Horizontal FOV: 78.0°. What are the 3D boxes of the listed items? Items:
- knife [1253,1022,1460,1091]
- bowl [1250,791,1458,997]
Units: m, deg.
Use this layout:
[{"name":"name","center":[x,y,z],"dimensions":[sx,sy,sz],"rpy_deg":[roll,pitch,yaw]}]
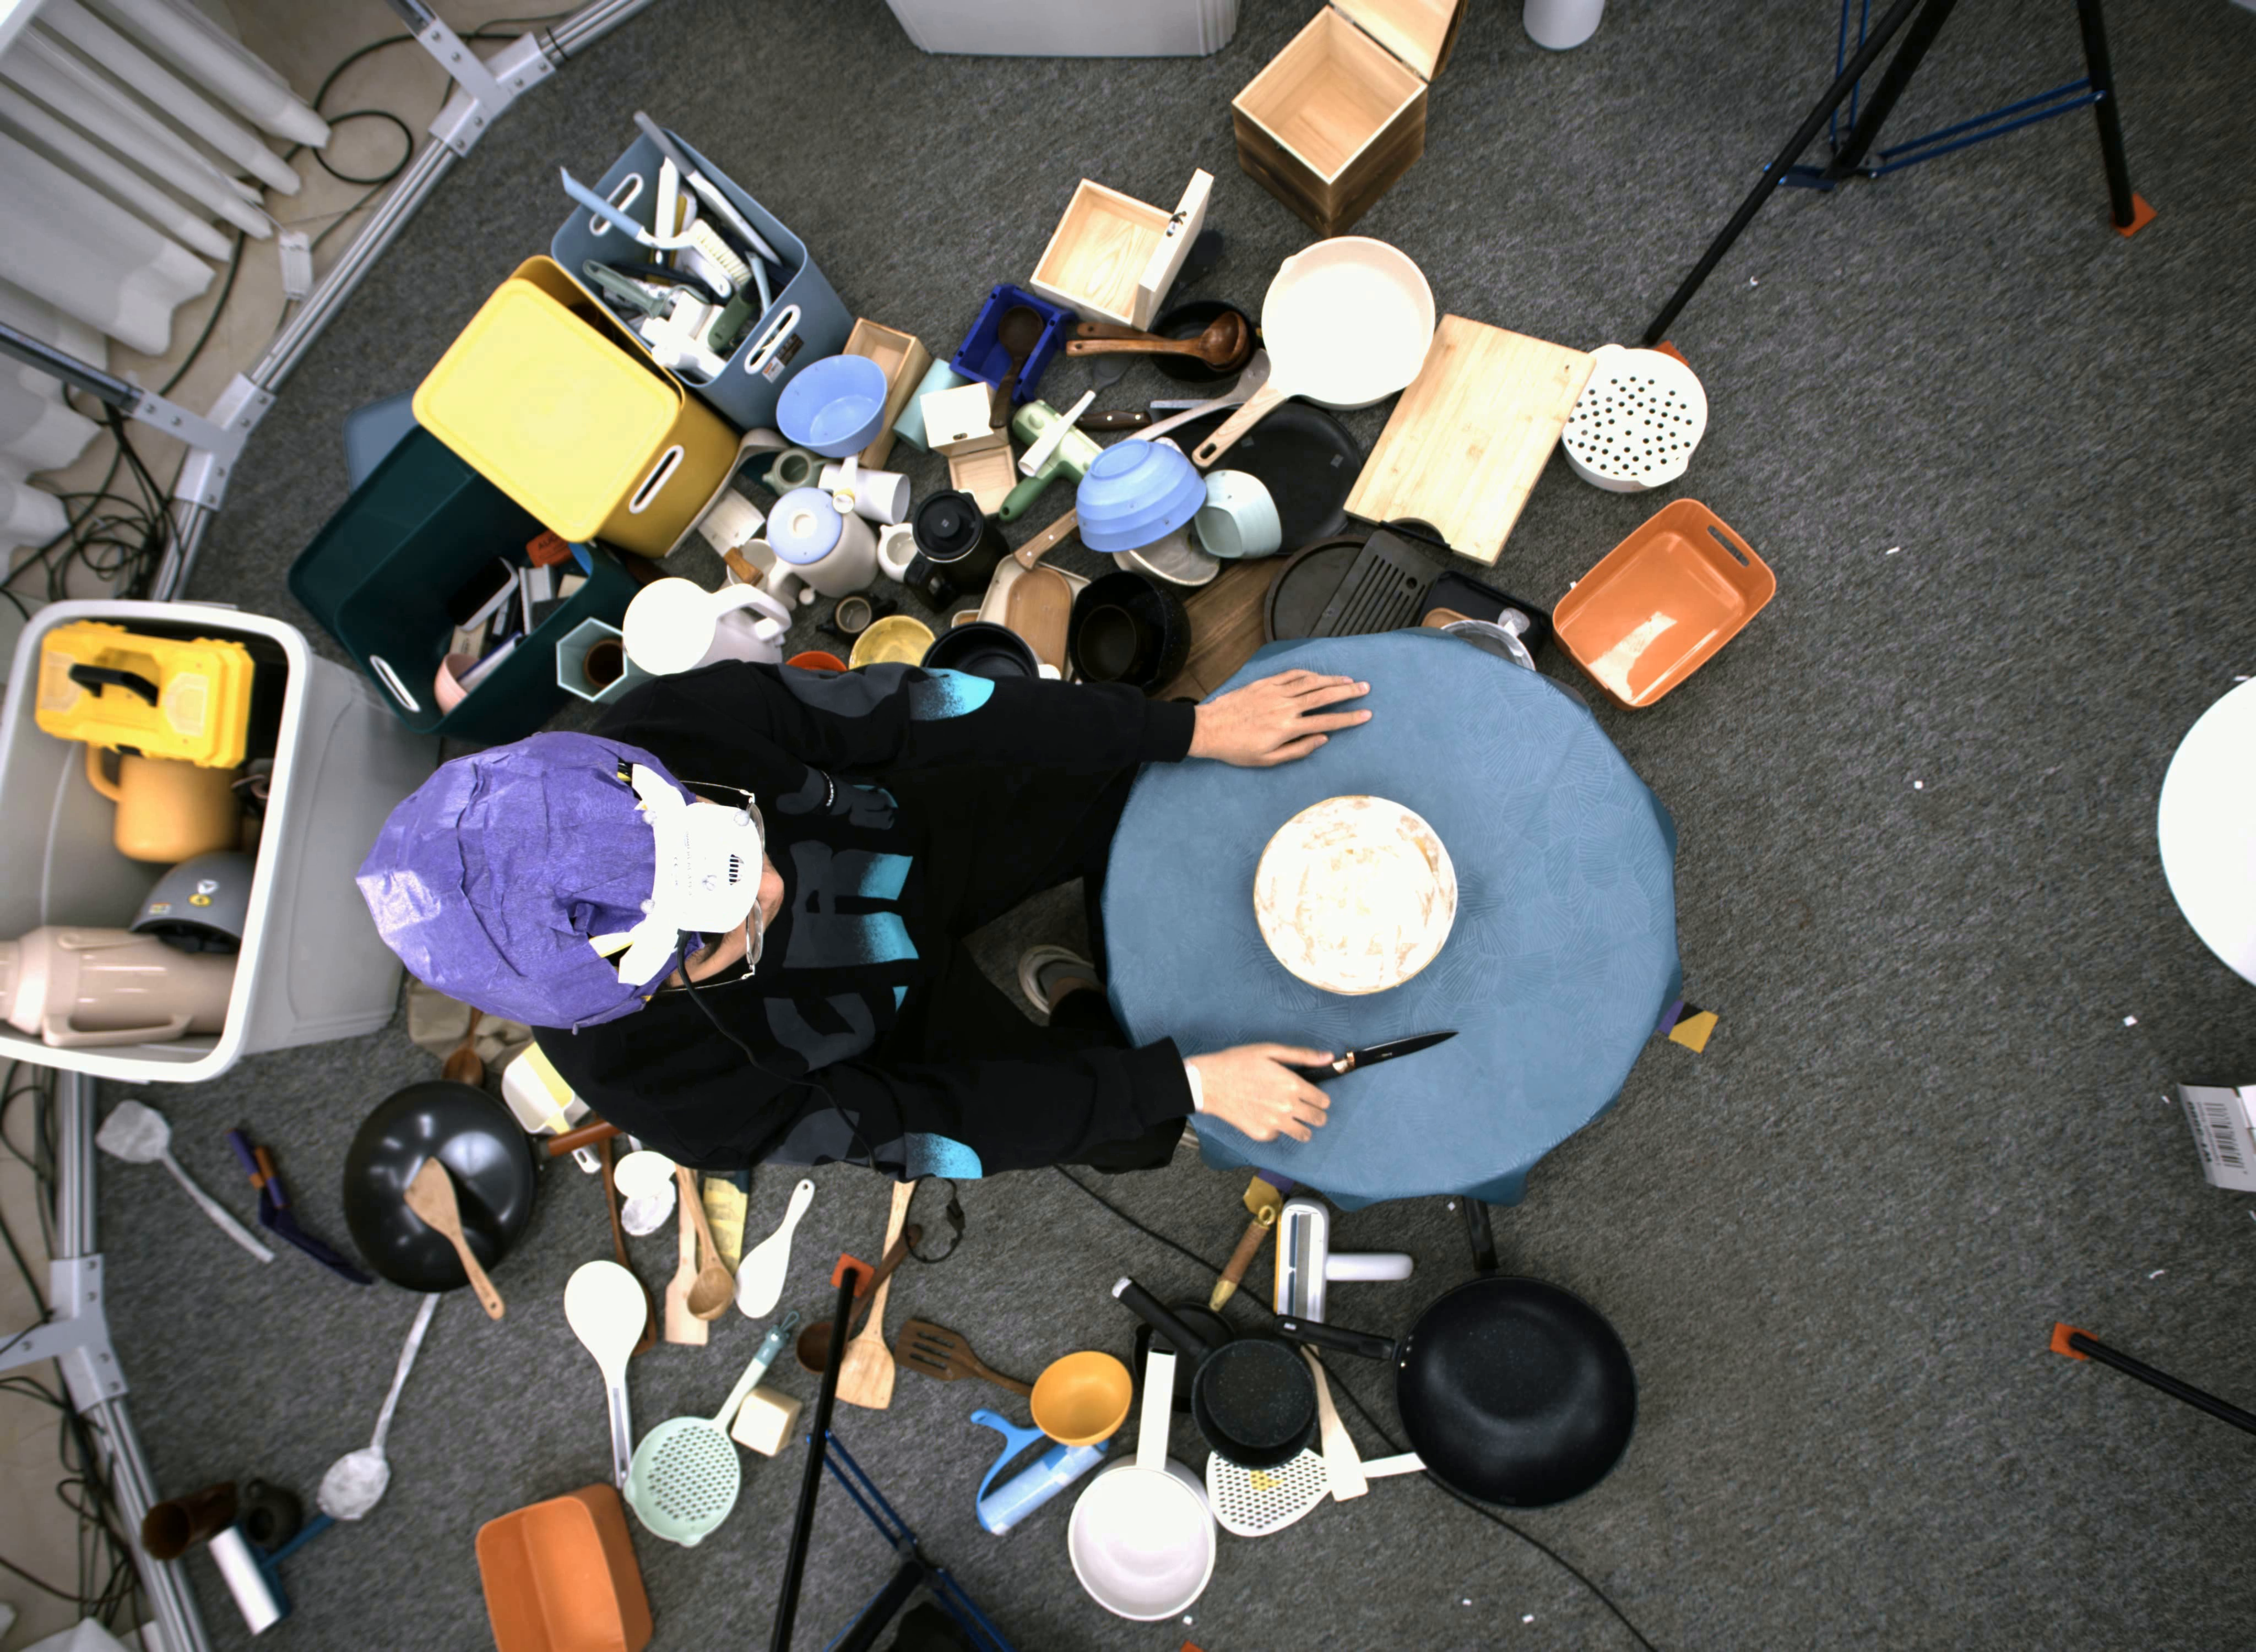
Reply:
[{"name":"knife","center":[0.238,0.239,1.445],"dimensions":[0.227,0.017,0.026],"rpy_deg":[-17,122,9]},{"name":"bowl","center":[0.229,0.070,1.419],"dimensions":[0.215,0.094,0.214],"rpy_deg":[-1,88,10]}]
